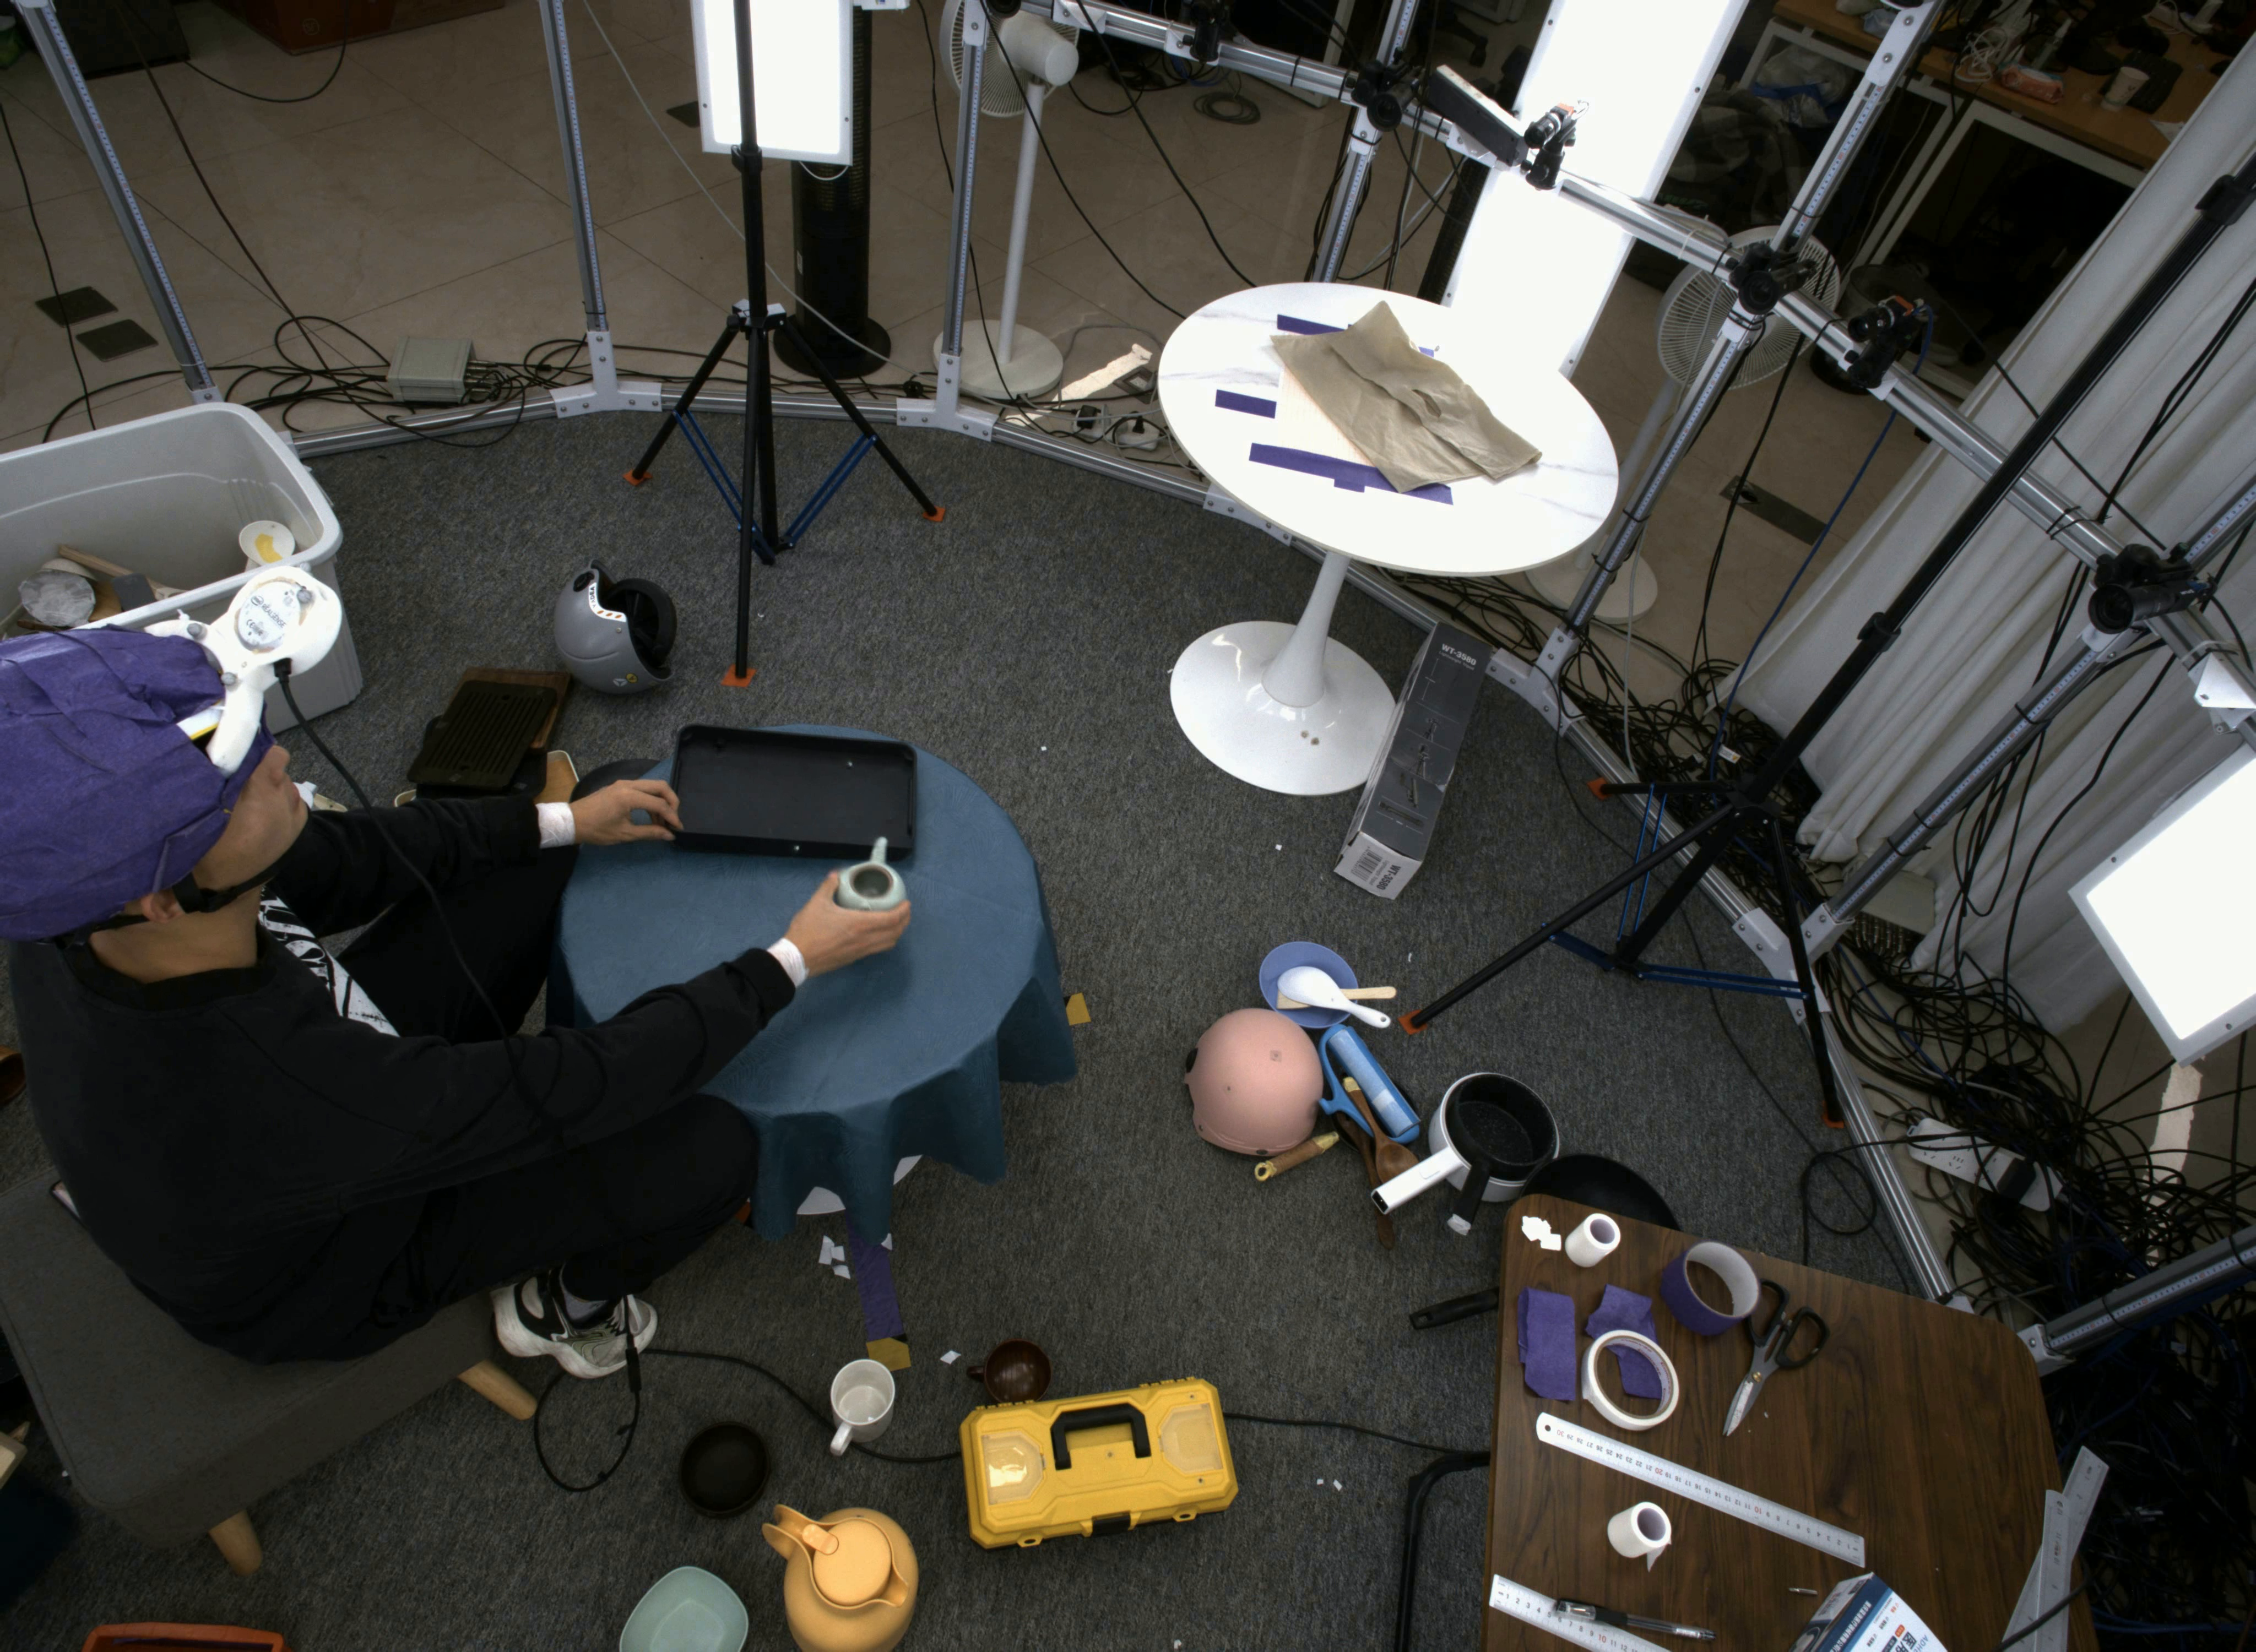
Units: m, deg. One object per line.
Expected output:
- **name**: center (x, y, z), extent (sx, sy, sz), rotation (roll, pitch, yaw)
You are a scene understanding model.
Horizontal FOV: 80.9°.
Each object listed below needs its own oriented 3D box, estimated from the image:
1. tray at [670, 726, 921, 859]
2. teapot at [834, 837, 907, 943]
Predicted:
- **tray**: center (-0.436, -0.045, 1.718), extent (0.319, 0.037, 0.180), rotation (3, 53, -17)
- **teapot**: center (-0.314, 0.085, 1.583), extent (0.088, 0.076, 0.141), rotation (13, 47, -6)
